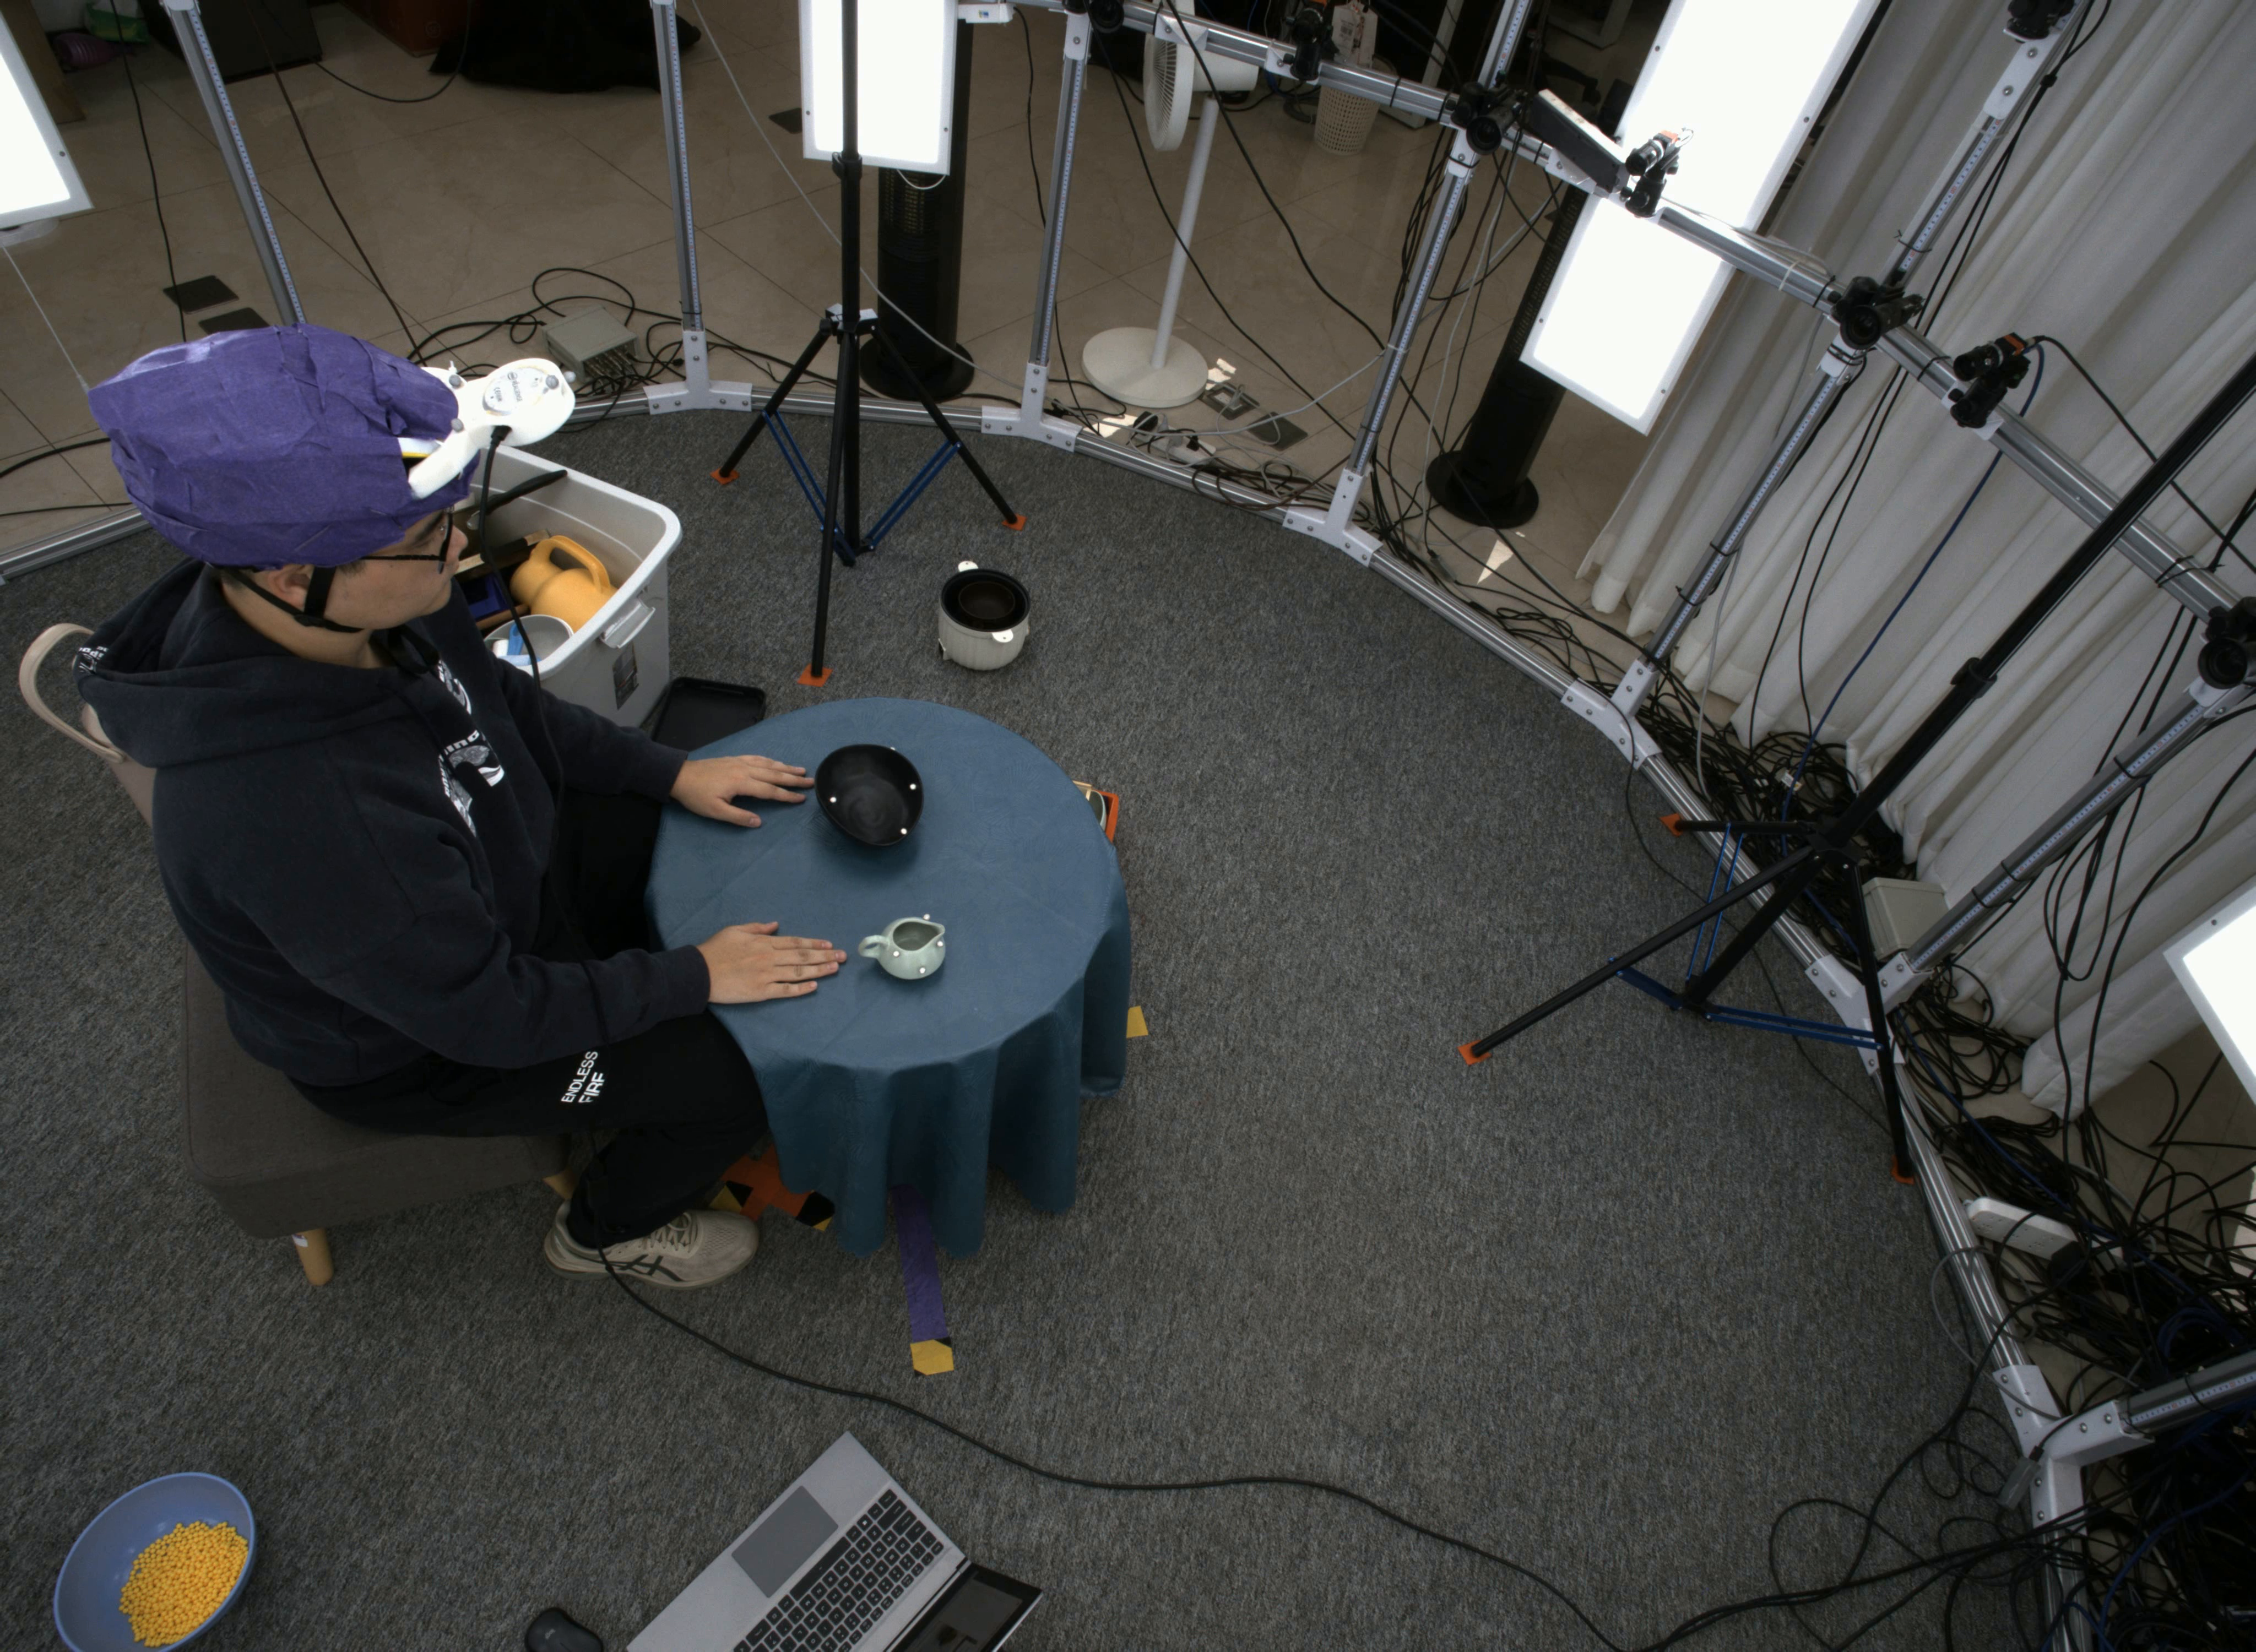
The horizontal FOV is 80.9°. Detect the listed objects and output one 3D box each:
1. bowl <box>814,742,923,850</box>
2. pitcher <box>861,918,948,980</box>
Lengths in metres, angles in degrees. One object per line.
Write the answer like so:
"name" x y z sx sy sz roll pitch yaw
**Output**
"bowl" -0.342 -0.032 1.724 0.138 0.068 0.166 -19 61 -25
"pitcher" -0.277 0.149 1.610 0.108 0.062 0.084 -11 55 -18
